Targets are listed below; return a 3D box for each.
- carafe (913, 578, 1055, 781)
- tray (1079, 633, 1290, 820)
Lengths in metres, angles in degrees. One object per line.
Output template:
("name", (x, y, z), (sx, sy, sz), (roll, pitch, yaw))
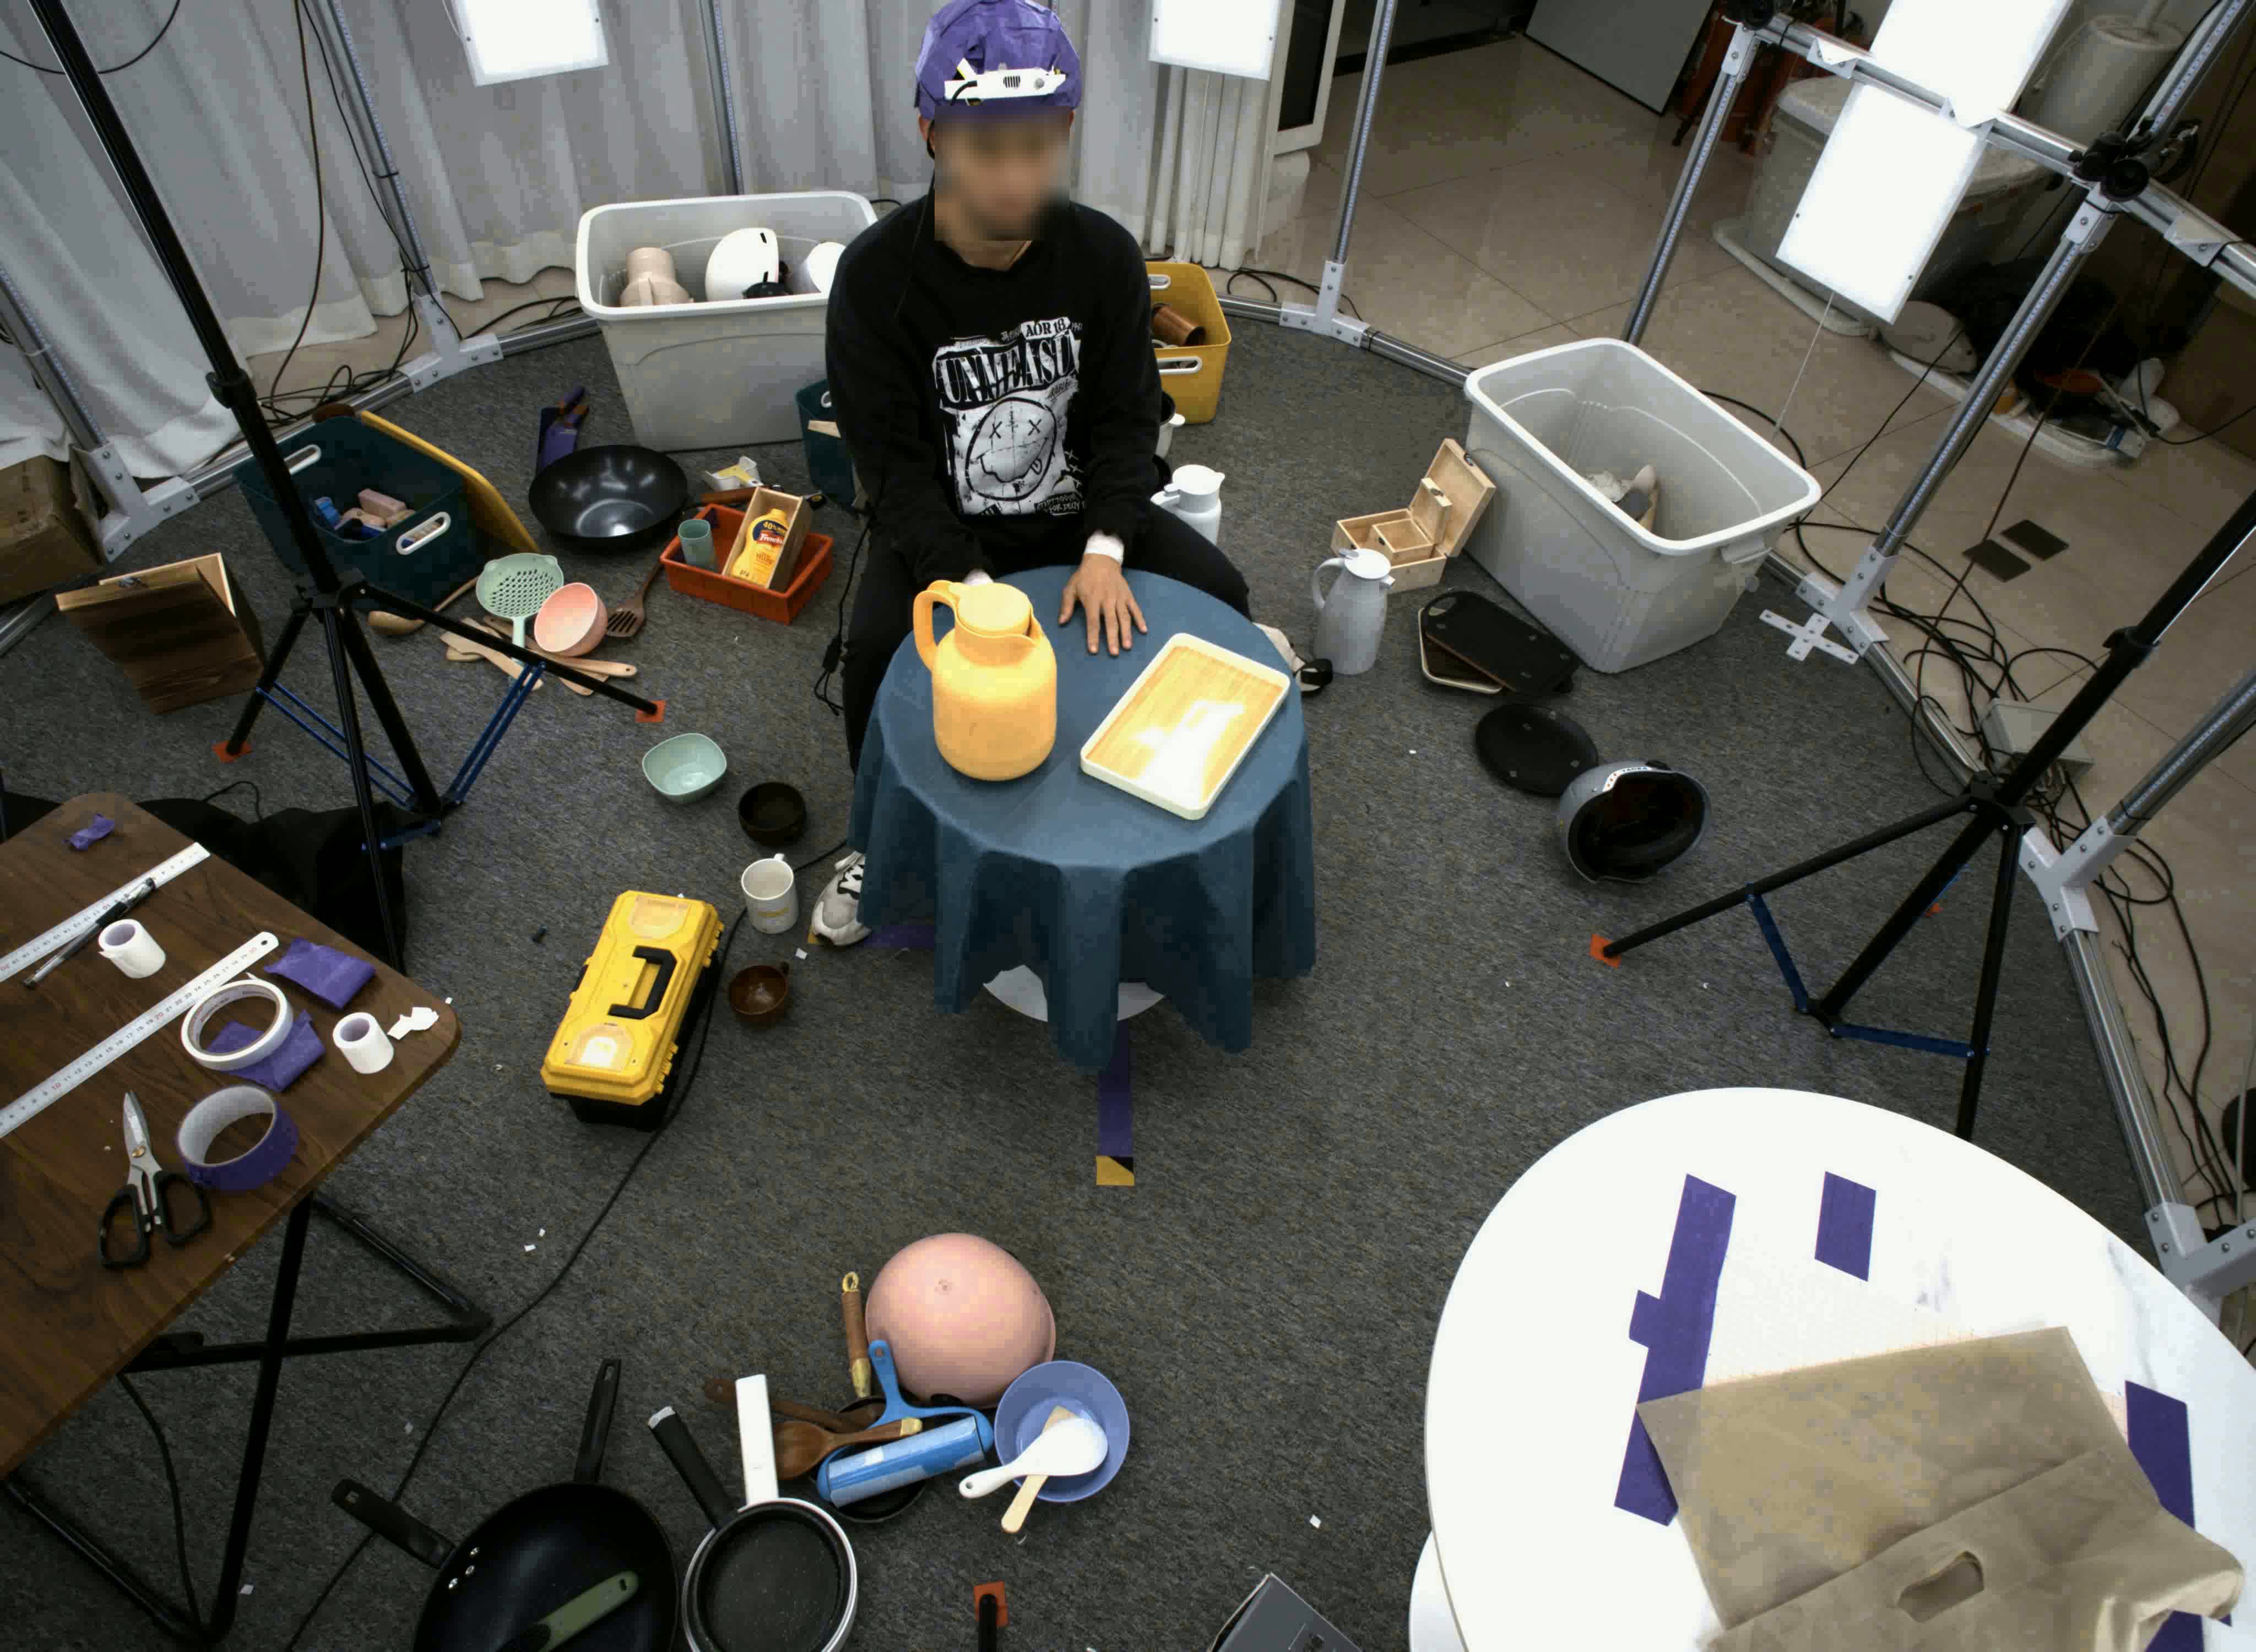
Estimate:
("carafe", (-0.190, -0.201, 1.663), (0.204, 0.254, 0.165), (32, 52, 20))
("tray", (0.082, -0.145, 1.783), (0.193, 0.027, 0.305), (25, 52, 17))
